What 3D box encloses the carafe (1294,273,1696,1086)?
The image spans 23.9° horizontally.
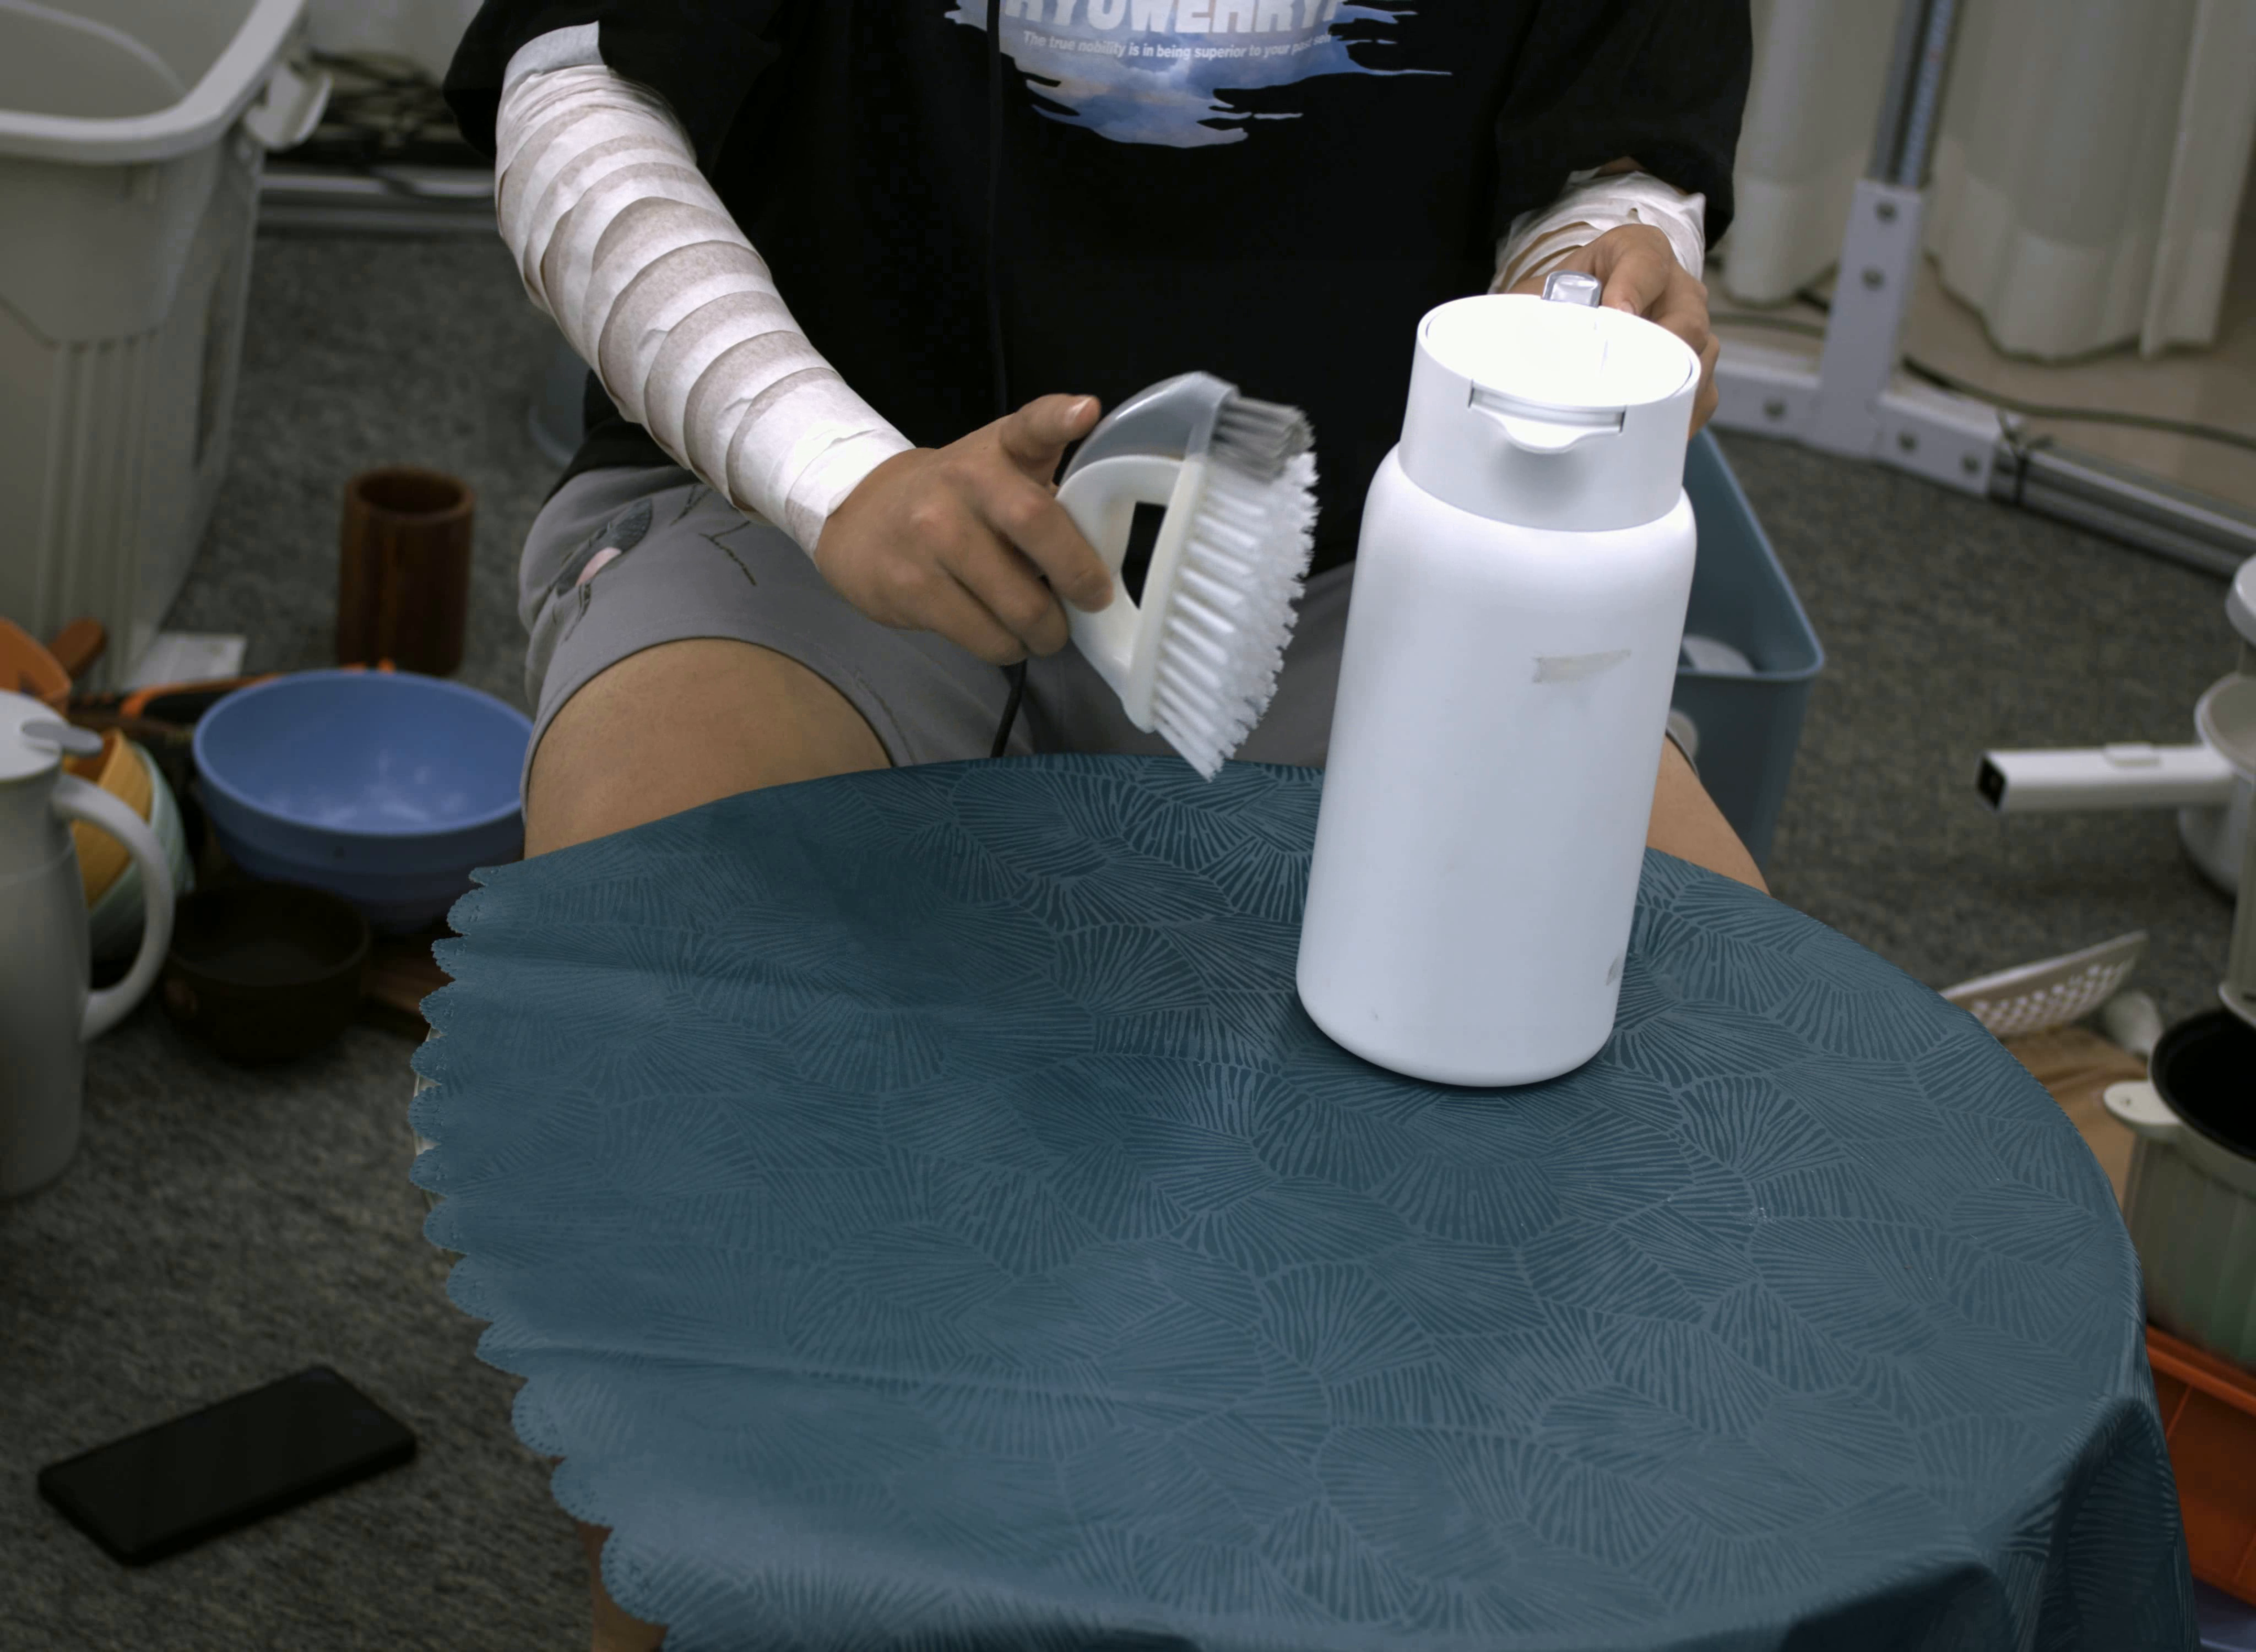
[{"bbox_3d":[0.132,-0.056,1.894,0.123,0.268,0.173,7,26,5],"label":"carafe"}]

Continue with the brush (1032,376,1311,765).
[{"bbox_3d":[0.013,-0.105,1.873,0.094,0.175,0.061,28,56,12],"label":"brush"}]
